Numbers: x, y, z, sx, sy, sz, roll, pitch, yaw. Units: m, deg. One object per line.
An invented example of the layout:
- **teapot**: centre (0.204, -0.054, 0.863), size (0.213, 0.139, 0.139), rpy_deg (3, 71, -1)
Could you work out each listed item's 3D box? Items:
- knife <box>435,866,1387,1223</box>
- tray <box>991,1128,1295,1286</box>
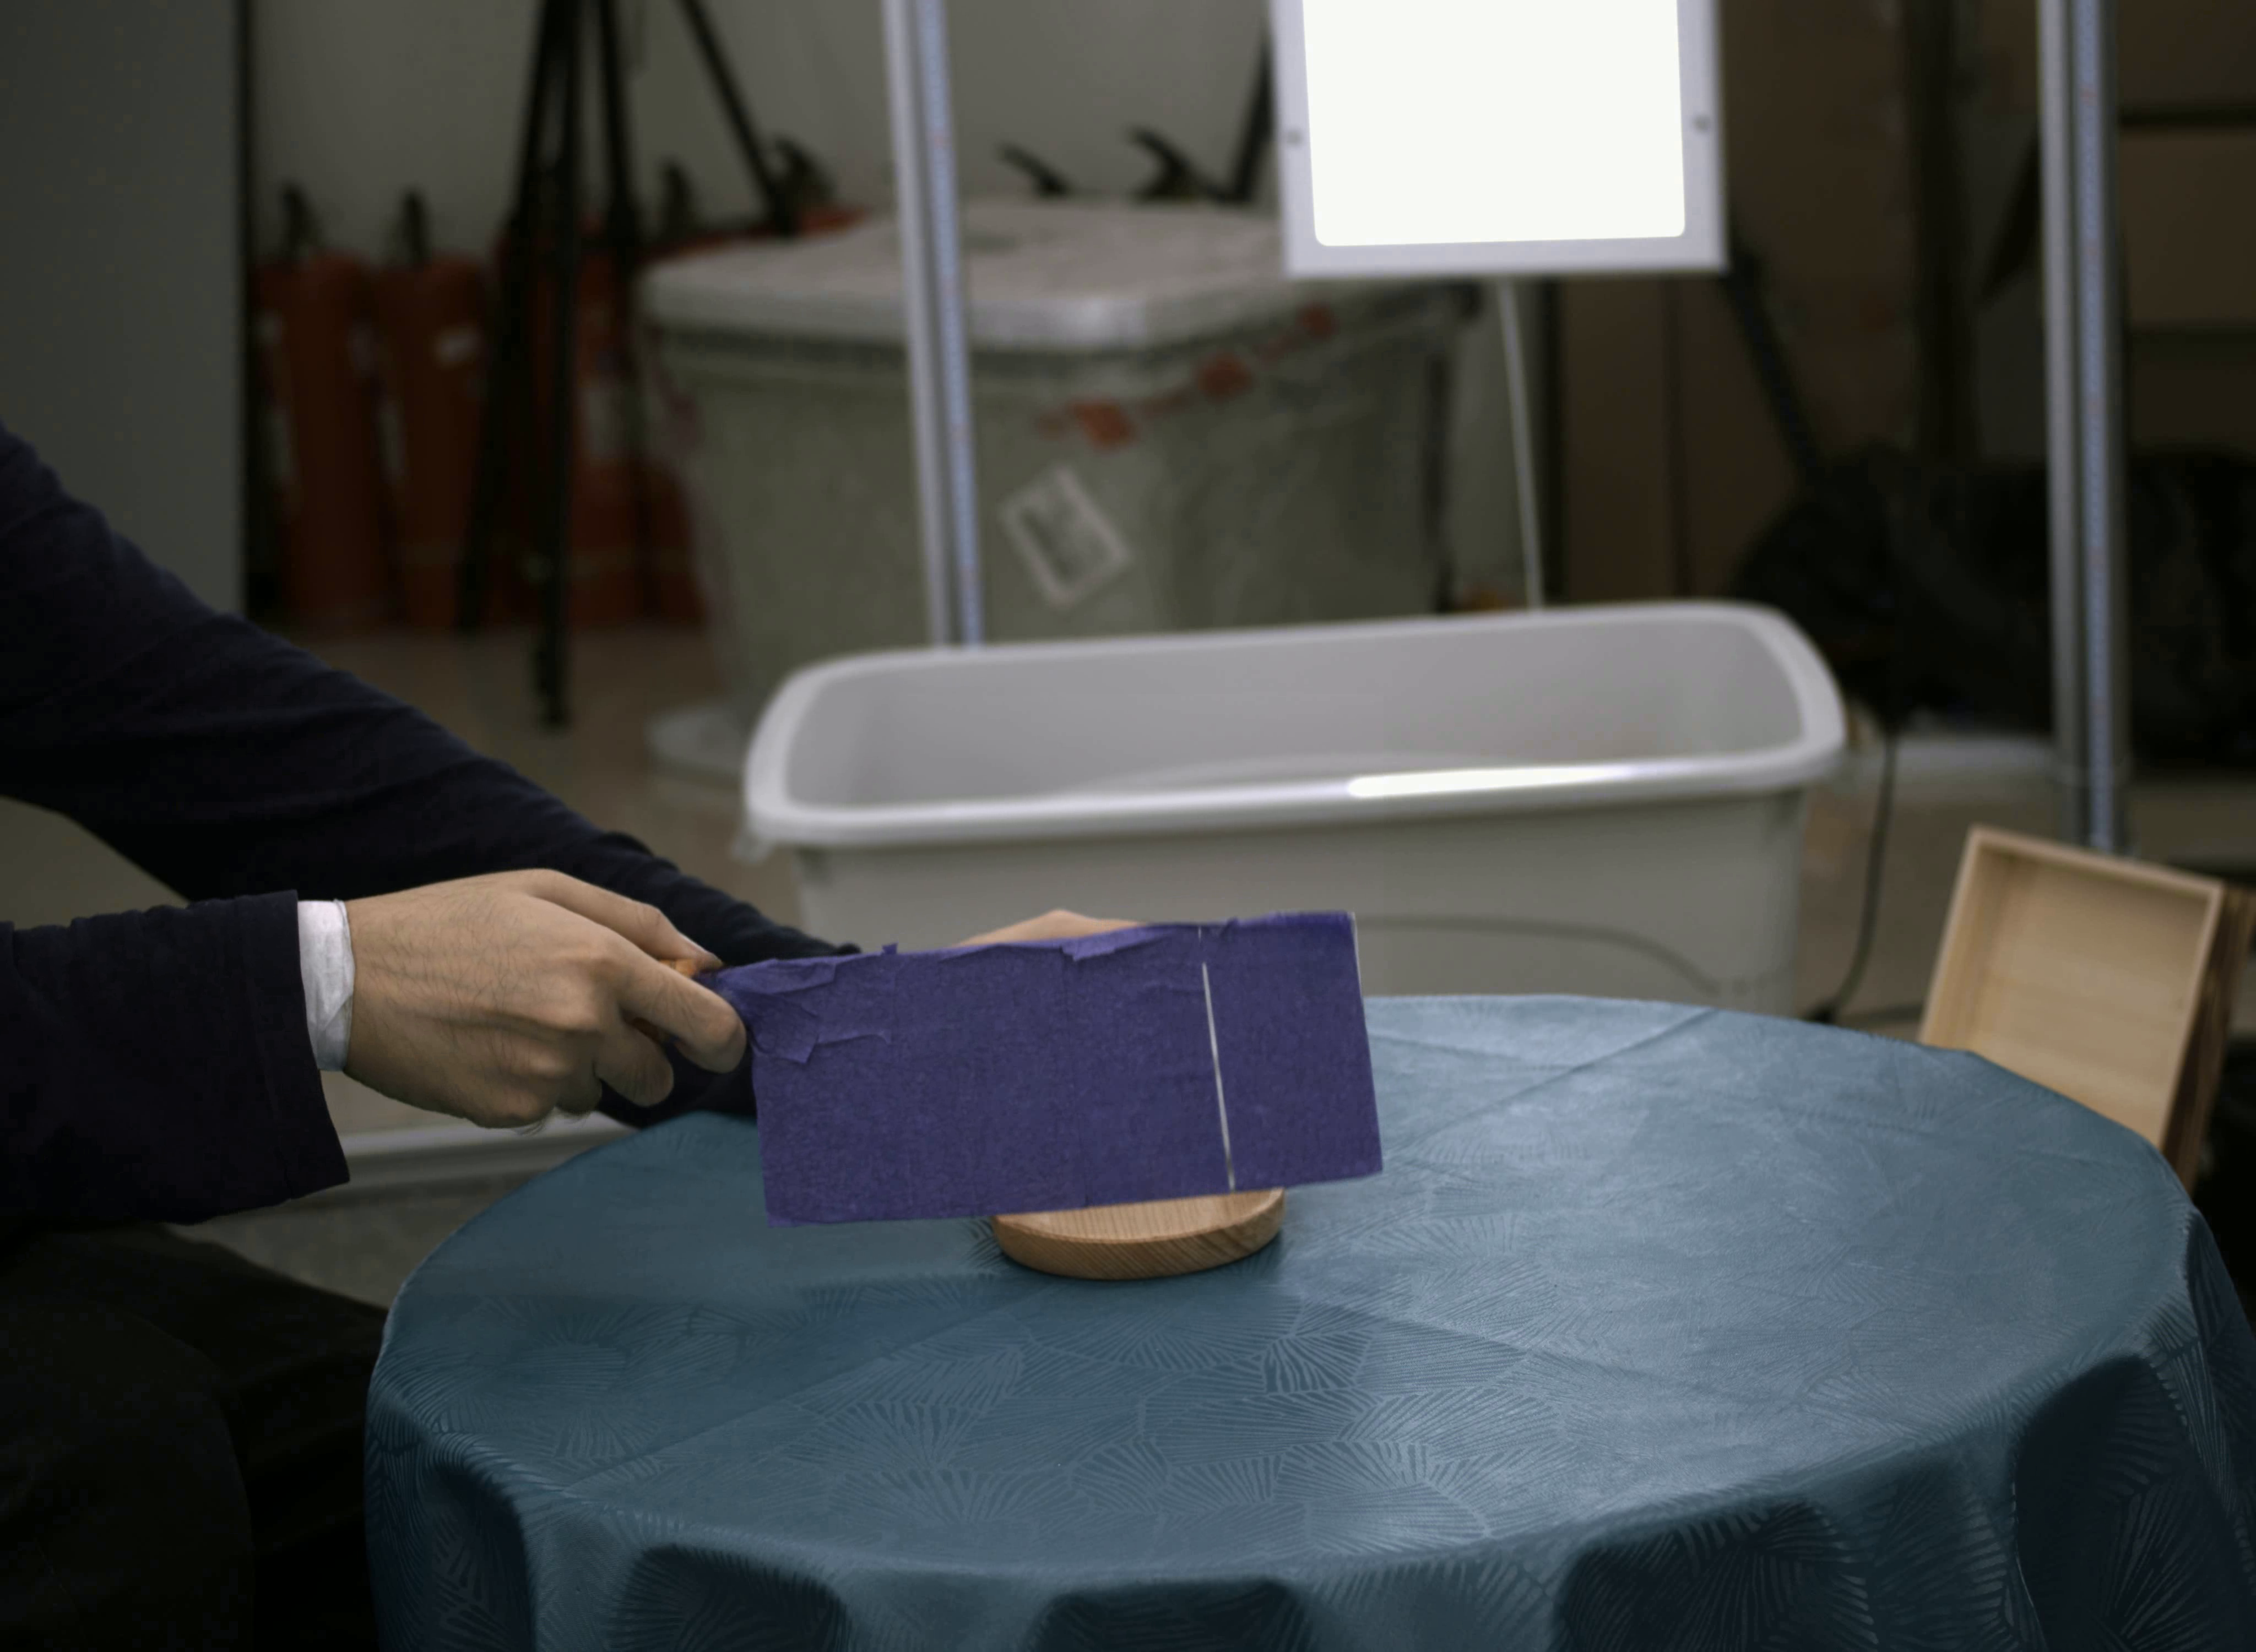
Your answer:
- **knife**: centre (-0.073, 0.082, 1.832), size (0.317, 0.104, 0.032), rpy_deg (-7, -2, 9)
- **tray**: centre (0.001, 0.117, 1.911), size (0.101, 0.020, 0.231), rpy_deg (-6, 15, -3)
